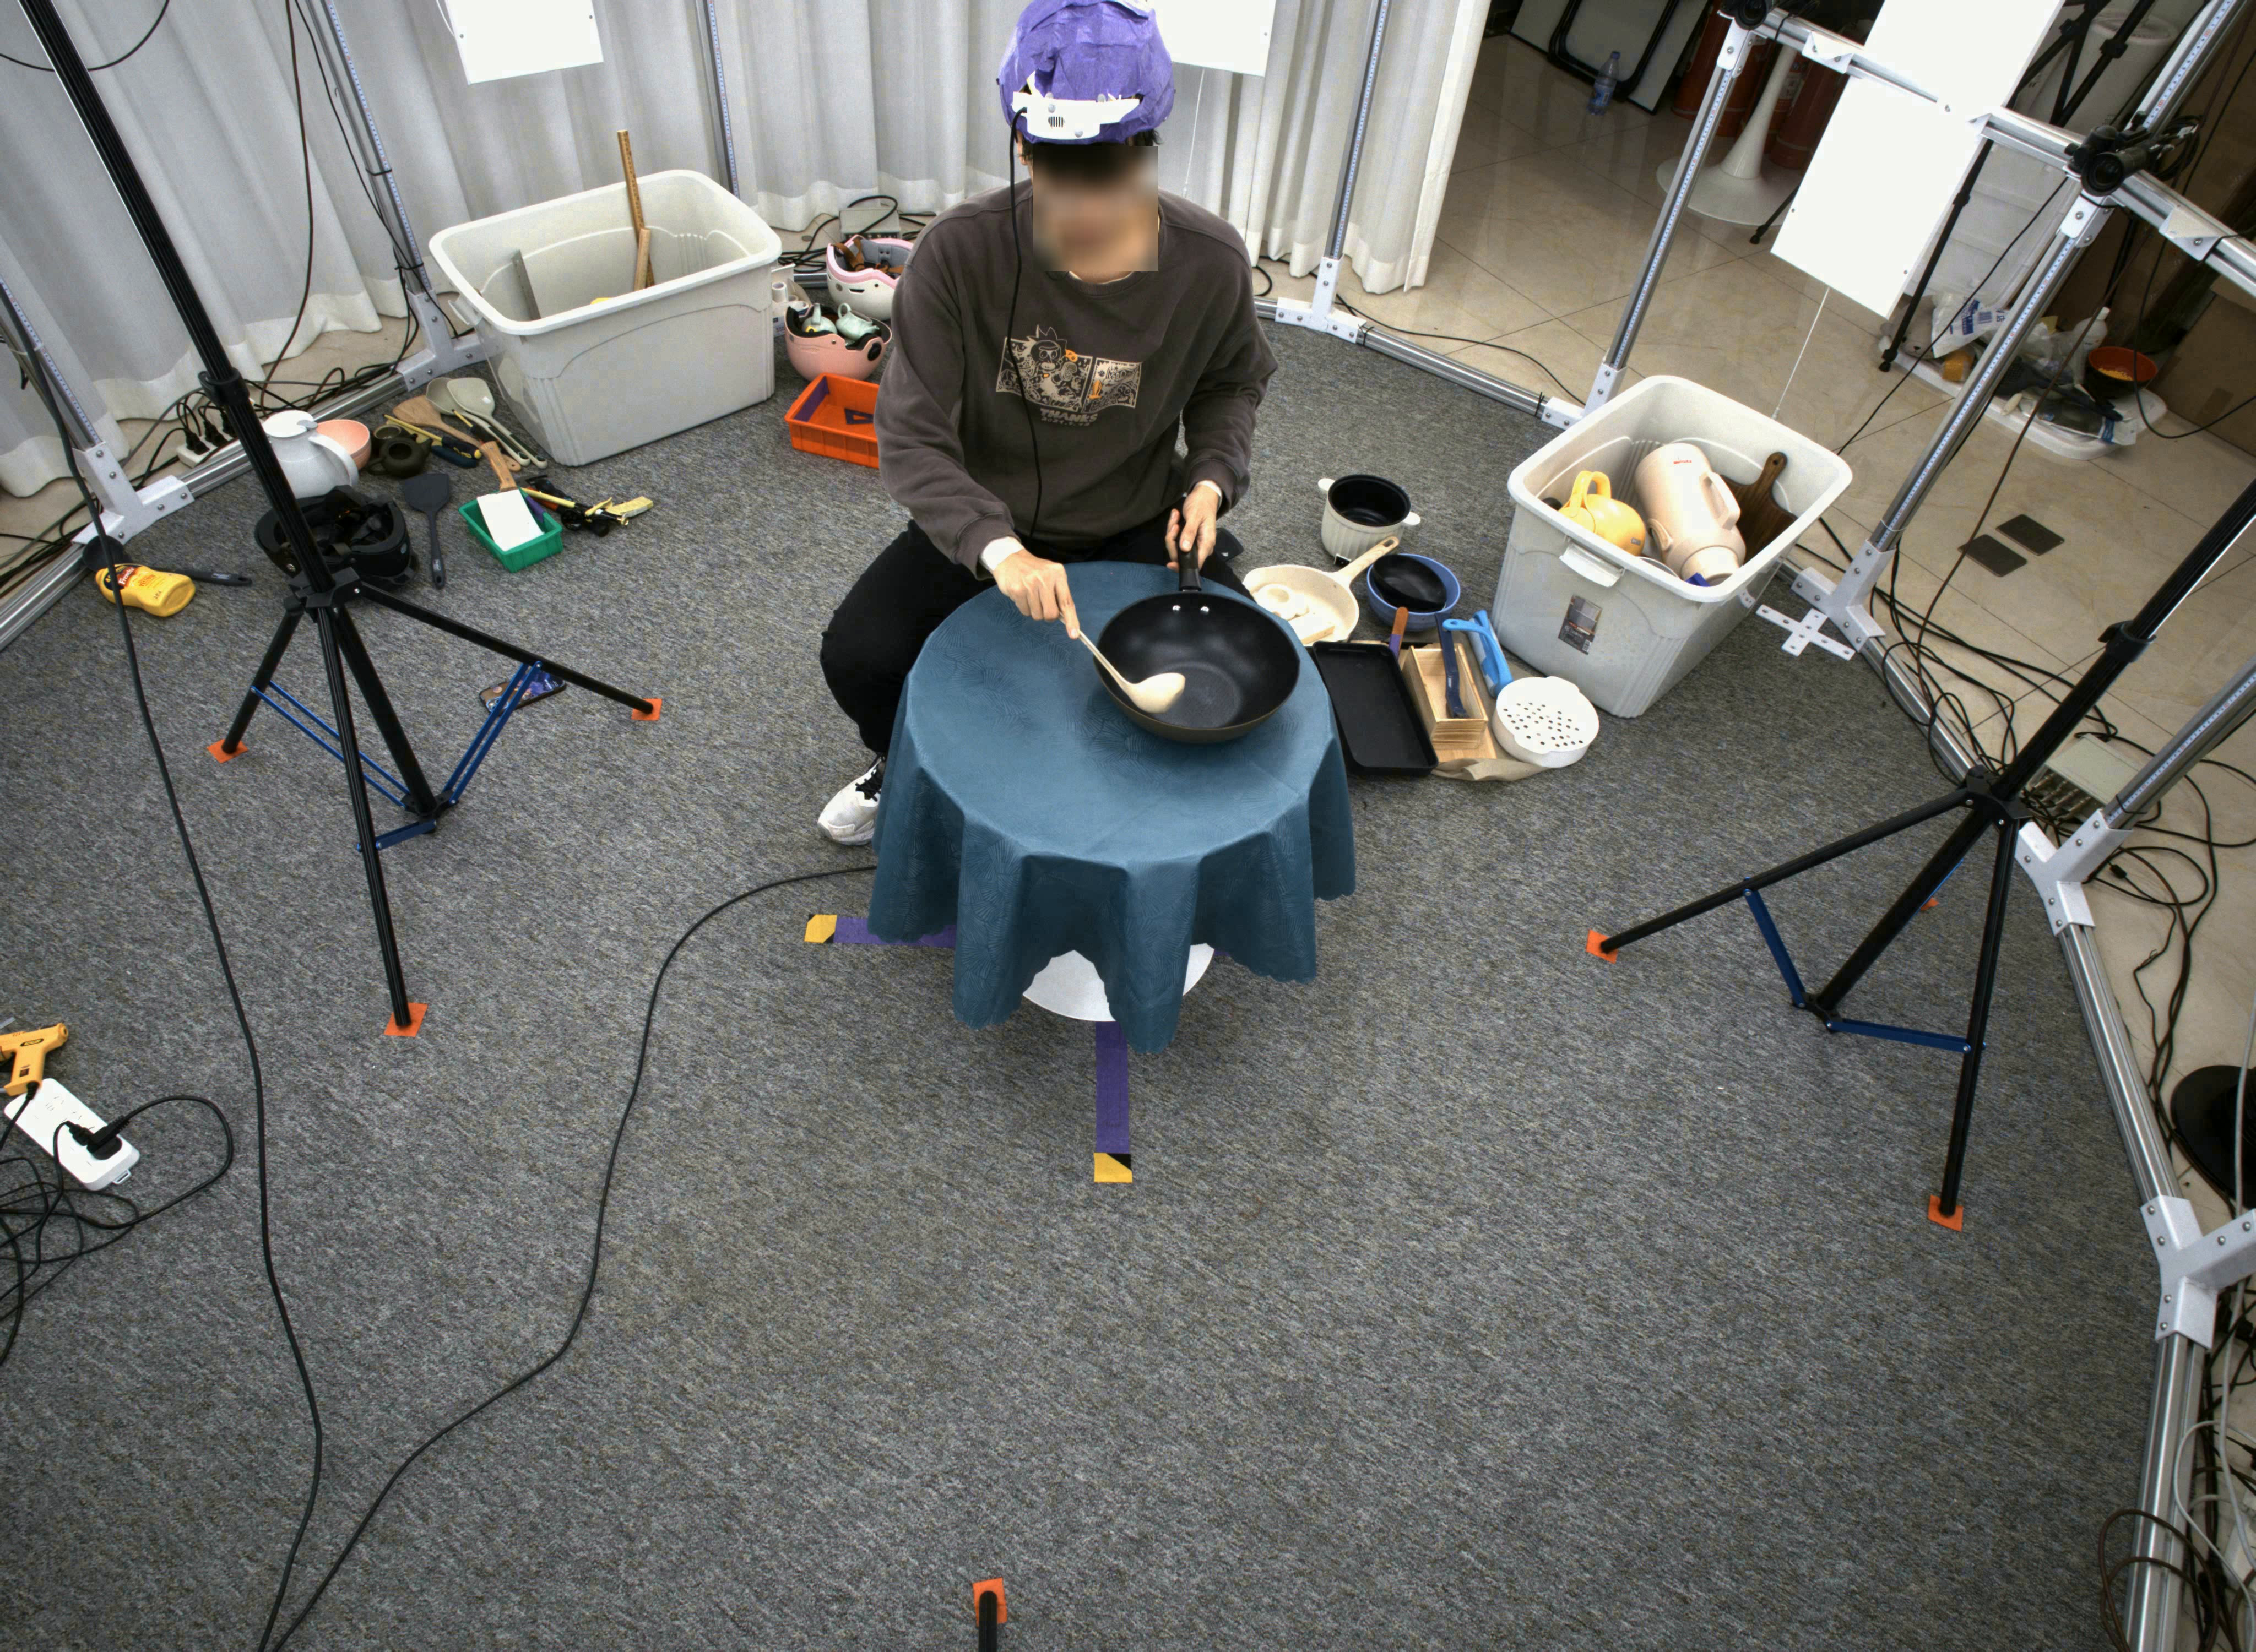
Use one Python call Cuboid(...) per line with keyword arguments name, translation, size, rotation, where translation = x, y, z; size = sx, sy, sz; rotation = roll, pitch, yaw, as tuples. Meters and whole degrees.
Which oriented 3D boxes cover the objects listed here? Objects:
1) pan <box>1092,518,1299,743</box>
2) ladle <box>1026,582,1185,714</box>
Cuboid(name="pan", translation=(0.090, -0.278, 1.859), size=(0.288, 0.085, 0.475), rotation=(1, 48, -2))
Cuboid(name="ladle", translation=(-0.026, -0.254, 1.714), size=(0.073, 0.071, 0.256), rotation=(-40, 81, -11))
